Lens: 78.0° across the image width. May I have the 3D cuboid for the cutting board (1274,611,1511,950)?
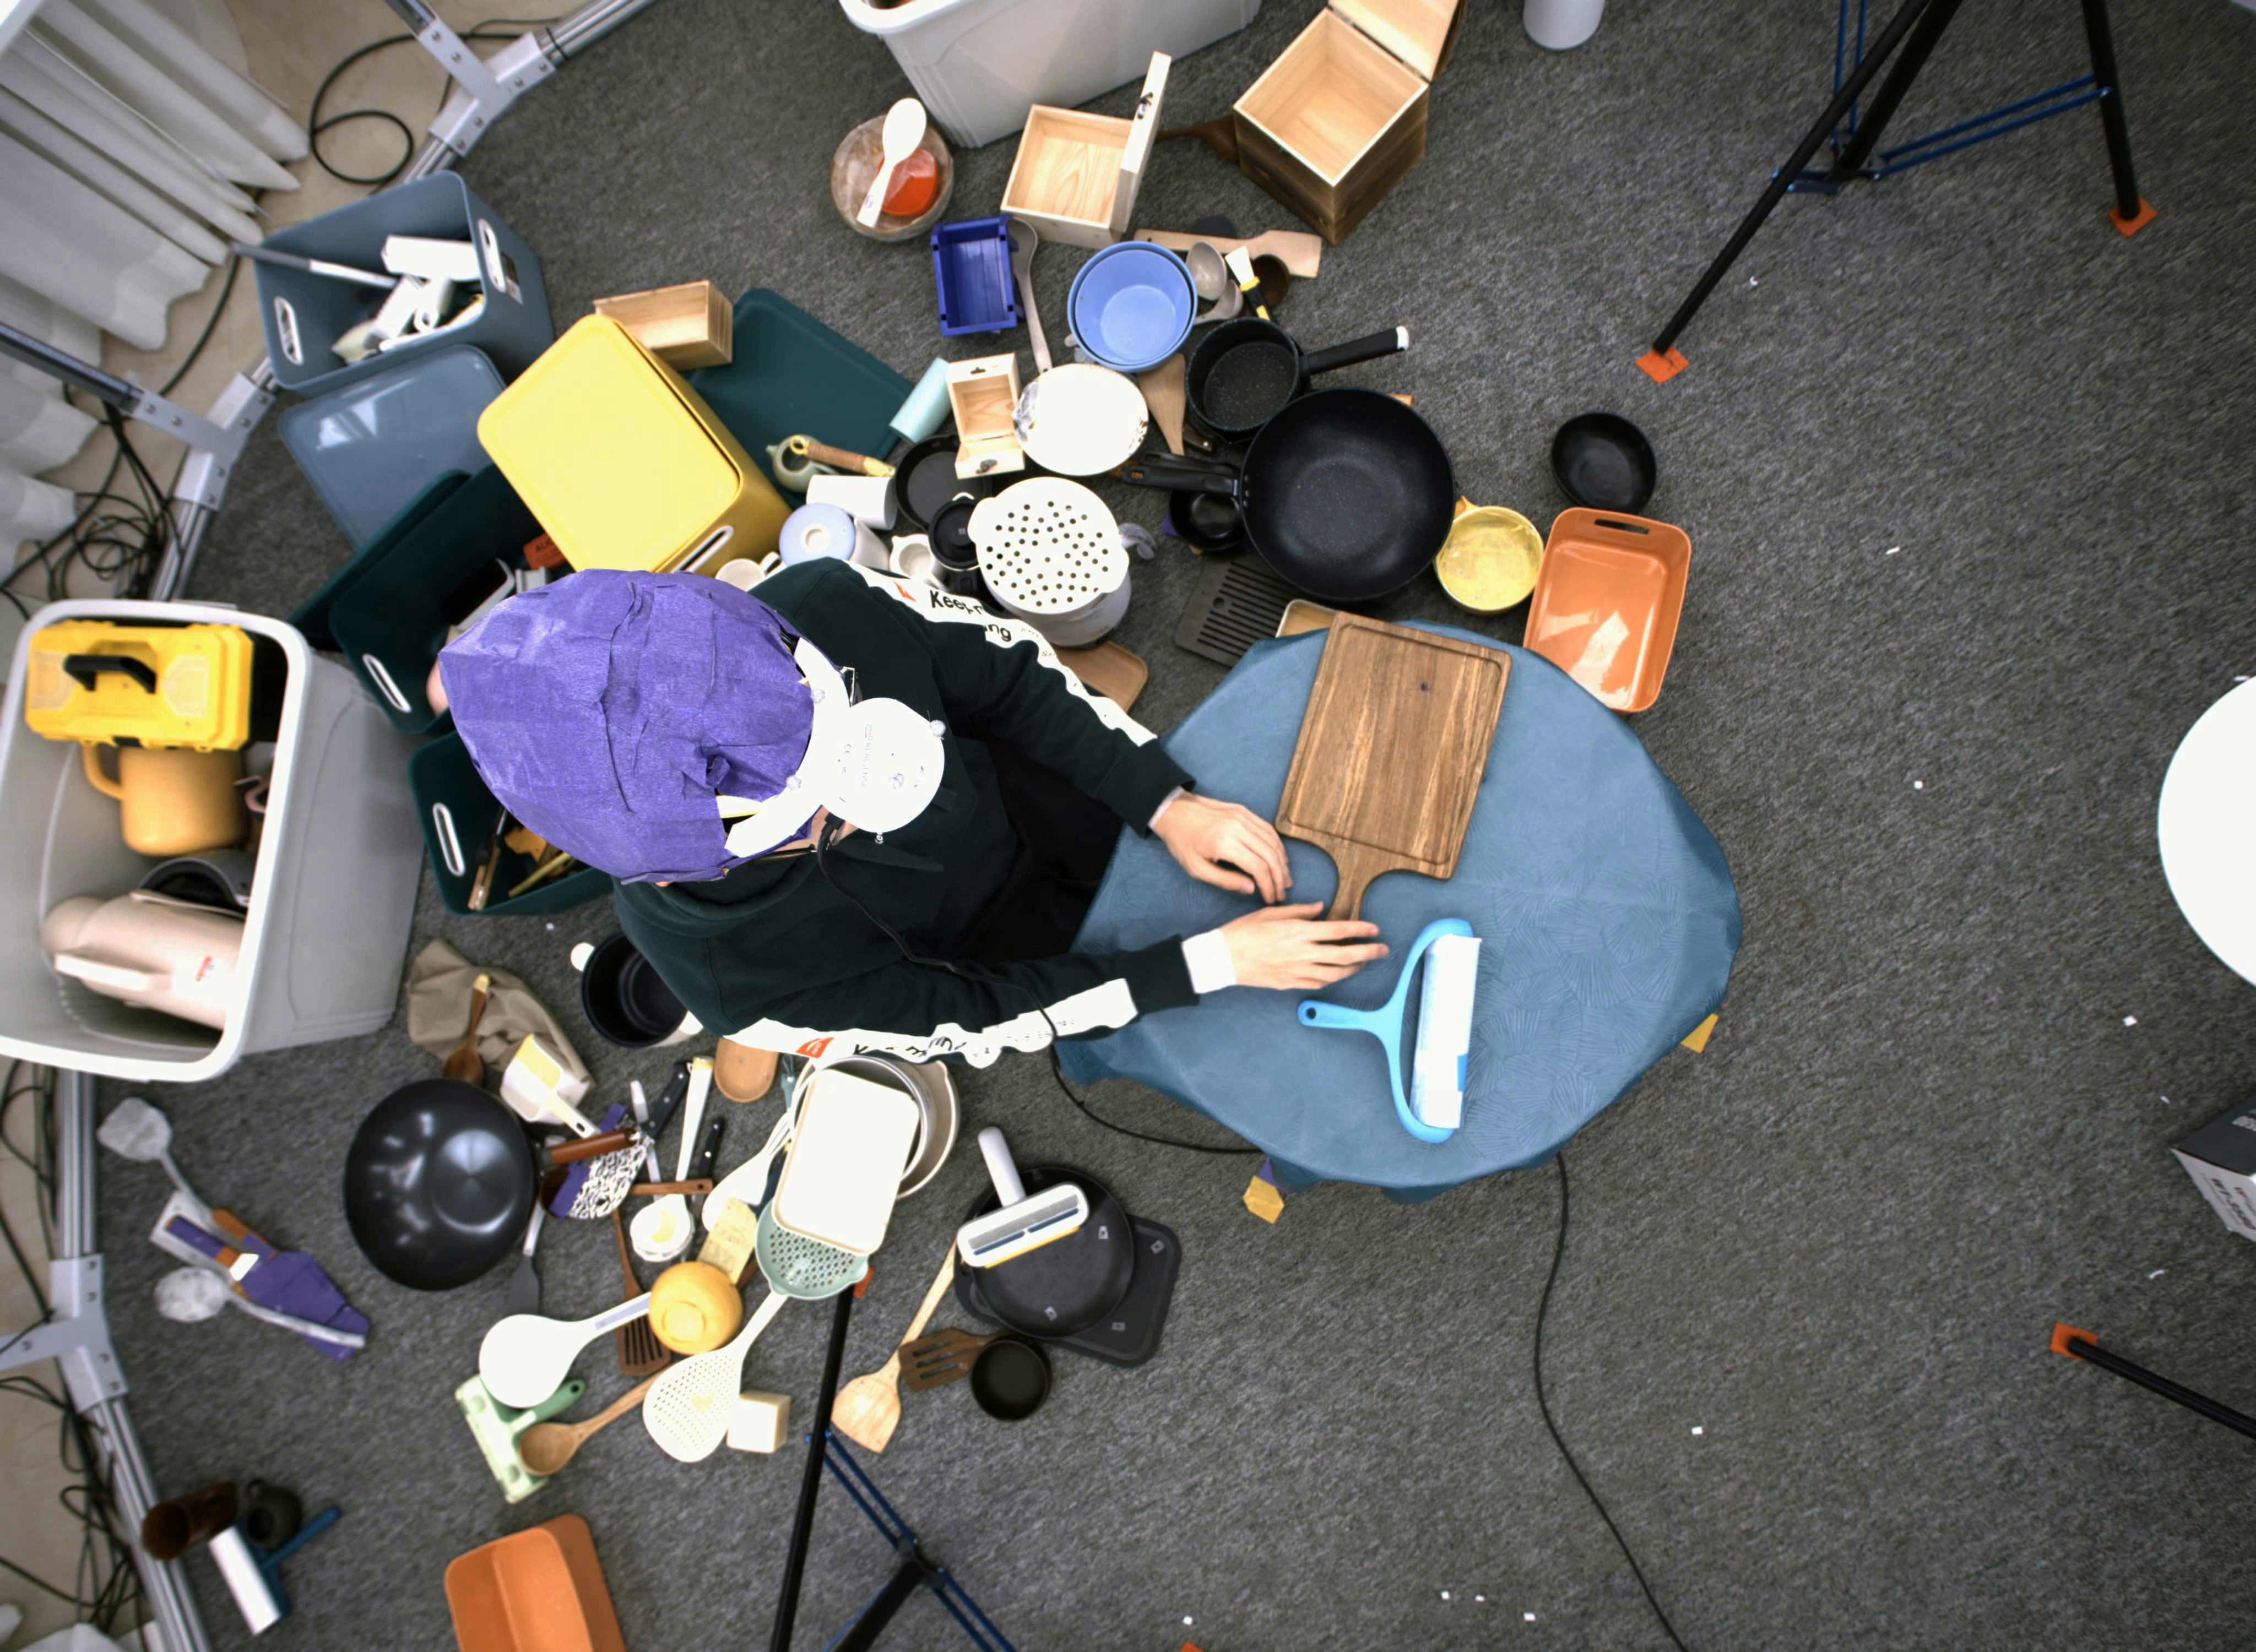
[{"bbox_3d":[0.265,-0.042,1.451,0.201,0.023,0.352,16,90,11],"label":"cutting board"}]

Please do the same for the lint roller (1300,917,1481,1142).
[{"bbox_3d":[0.266,0.203,1.420,0.181,0.068,0.228,3,89,9],"label":"lint roller"}]
